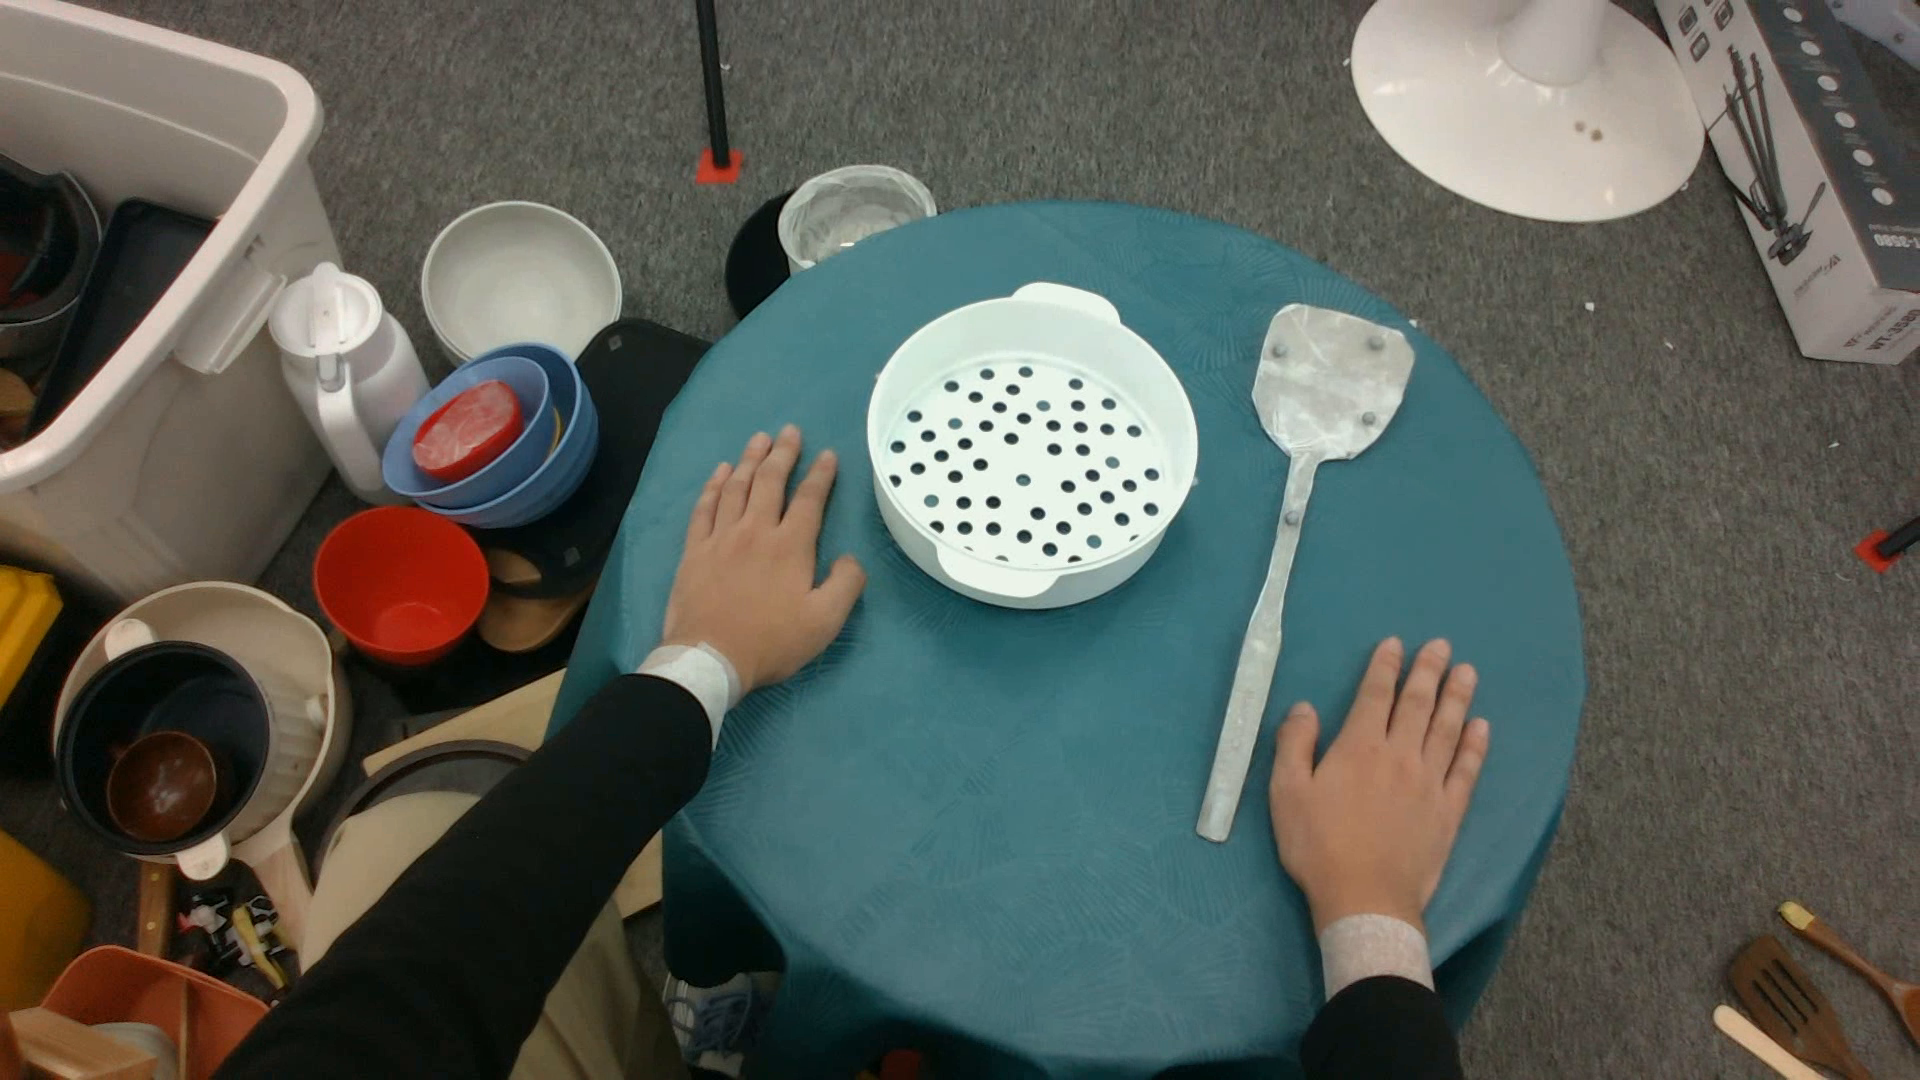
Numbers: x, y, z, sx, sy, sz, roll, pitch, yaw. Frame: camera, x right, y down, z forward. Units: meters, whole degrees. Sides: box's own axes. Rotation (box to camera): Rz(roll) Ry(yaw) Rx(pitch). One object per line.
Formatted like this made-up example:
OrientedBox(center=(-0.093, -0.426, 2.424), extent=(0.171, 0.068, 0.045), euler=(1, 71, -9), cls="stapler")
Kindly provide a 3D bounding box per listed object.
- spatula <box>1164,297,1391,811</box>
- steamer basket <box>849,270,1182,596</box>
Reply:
OrientedBox(center=(0.188, 0.001, 0.856), extent=(0.098, 0.044, 0.366), euler=(20, 60, 3), cls="spatula")
OrientedBox(center=(0.033, -0.061, 0.858), extent=(0.202, 0.069, 0.231), euler=(14, 61, 4), cls="steamer basket")
